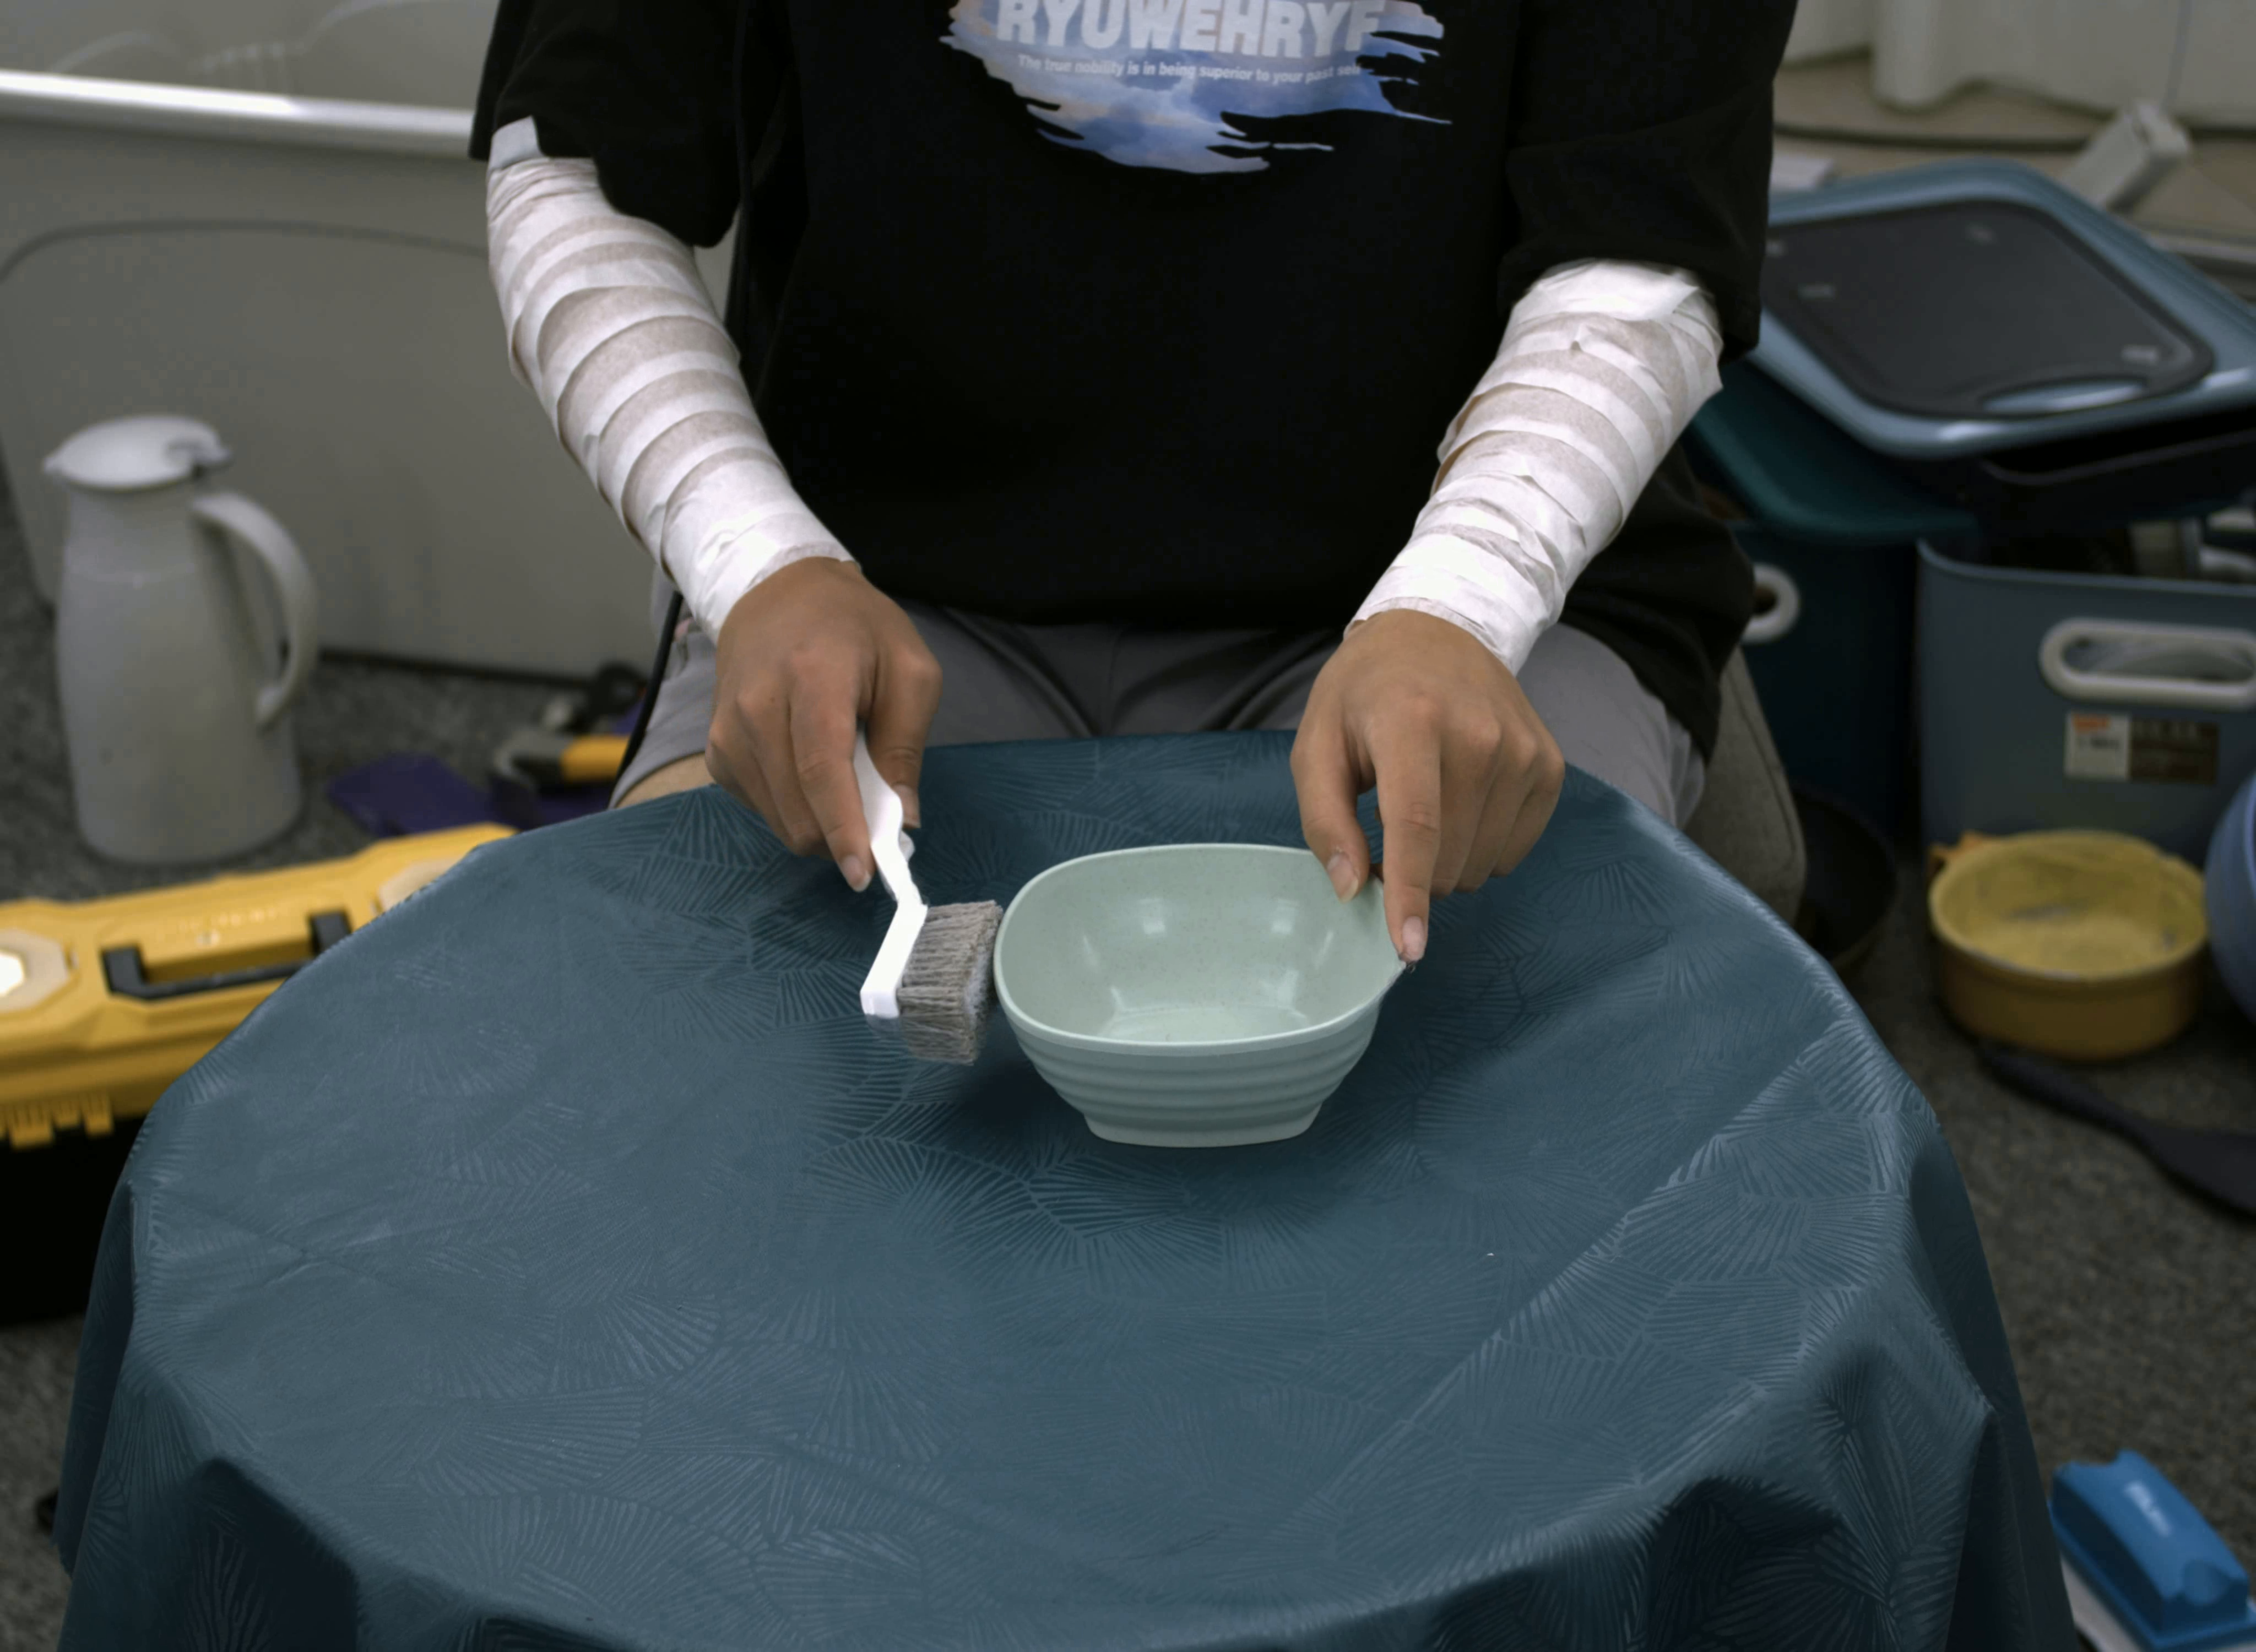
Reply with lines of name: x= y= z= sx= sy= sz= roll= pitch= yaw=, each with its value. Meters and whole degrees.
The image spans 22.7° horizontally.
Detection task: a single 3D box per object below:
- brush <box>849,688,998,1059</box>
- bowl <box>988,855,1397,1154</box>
brush: x=-0.073 y=0.011 z=1.981 sx=0.050 sy=0.034 sz=0.247 roll=-8 pitch=28 yaw=1
bowl: x=0.023 y=0.066 z=1.911 sx=0.151 sy=0.058 sz=0.153 roll=-1 pitch=25 yaw=1
